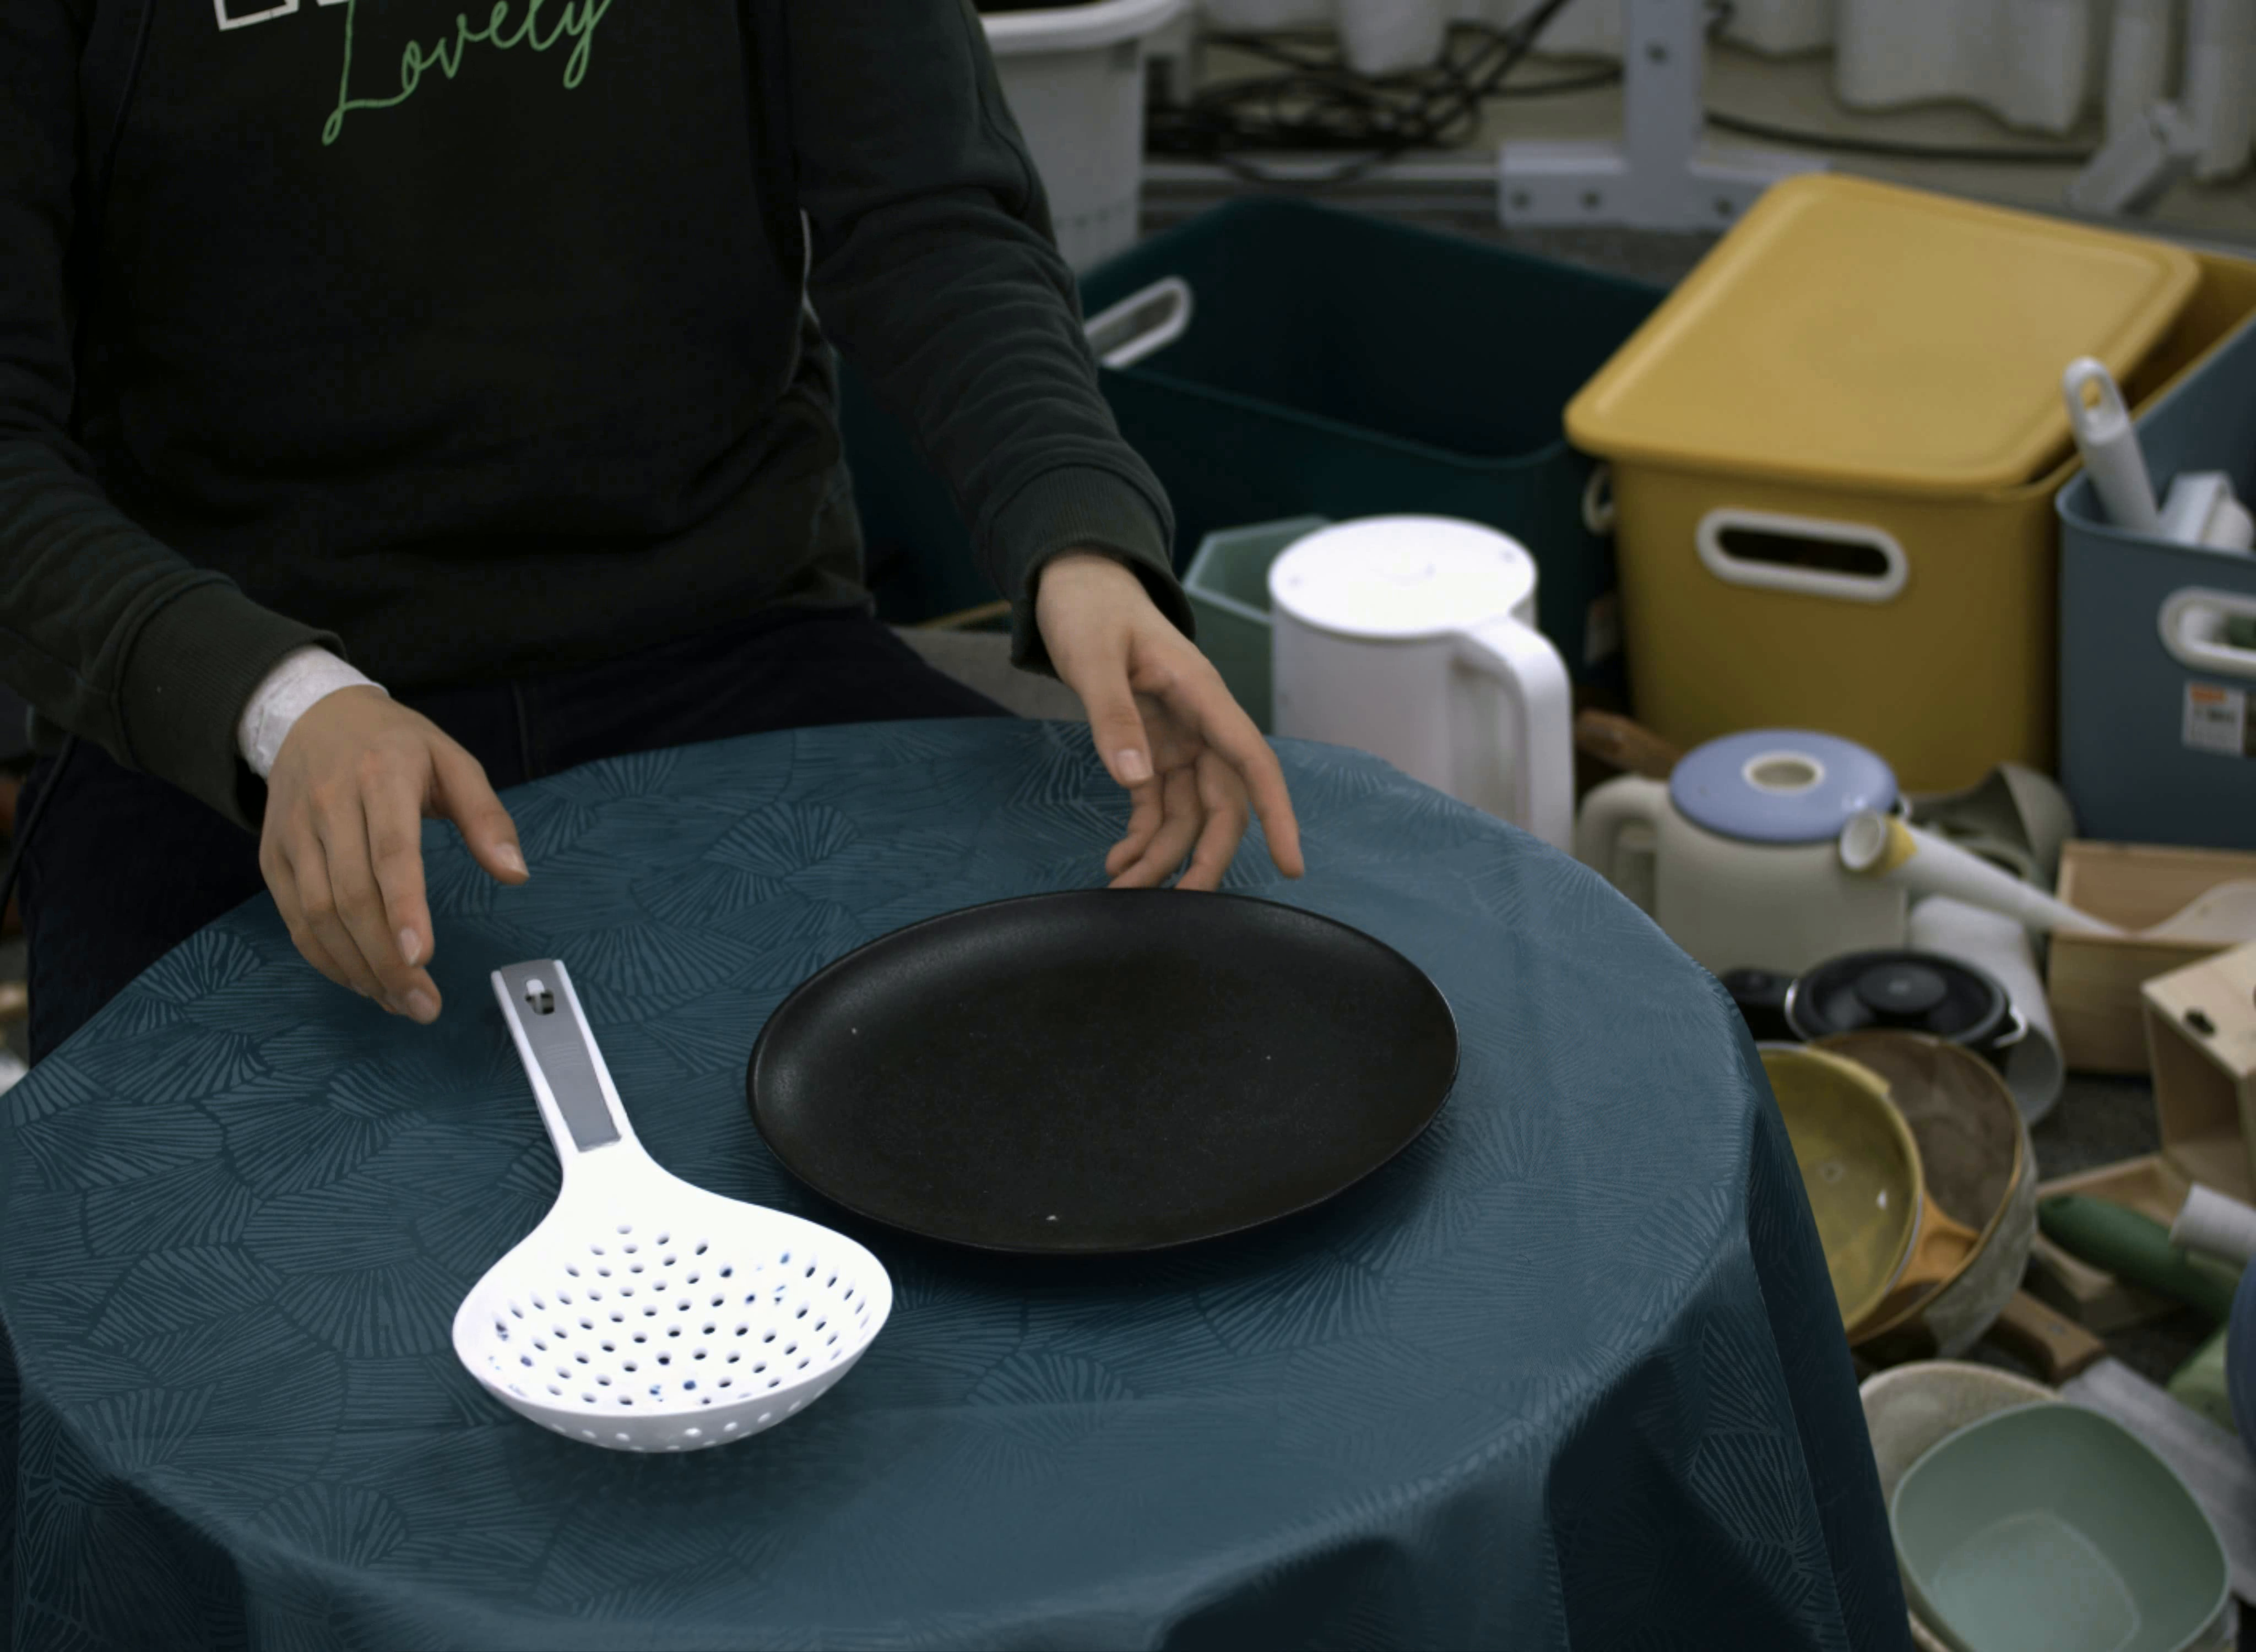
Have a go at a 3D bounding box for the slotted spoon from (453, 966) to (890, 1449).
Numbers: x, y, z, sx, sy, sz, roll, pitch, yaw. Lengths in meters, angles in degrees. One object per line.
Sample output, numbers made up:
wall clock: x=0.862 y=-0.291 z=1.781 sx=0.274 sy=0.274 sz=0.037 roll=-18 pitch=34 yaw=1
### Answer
slotted spoon: x=-0.168 y=0.118 z=1.836 sx=0.136 sy=0.045 sz=0.353 roll=-7 pitch=27 yaw=-13

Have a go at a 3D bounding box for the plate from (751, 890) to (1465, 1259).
plate: x=-0.007 y=0.088 z=1.902 sx=0.243 sy=0.023 sz=0.248 roll=-2 pitch=27 yaw=2
